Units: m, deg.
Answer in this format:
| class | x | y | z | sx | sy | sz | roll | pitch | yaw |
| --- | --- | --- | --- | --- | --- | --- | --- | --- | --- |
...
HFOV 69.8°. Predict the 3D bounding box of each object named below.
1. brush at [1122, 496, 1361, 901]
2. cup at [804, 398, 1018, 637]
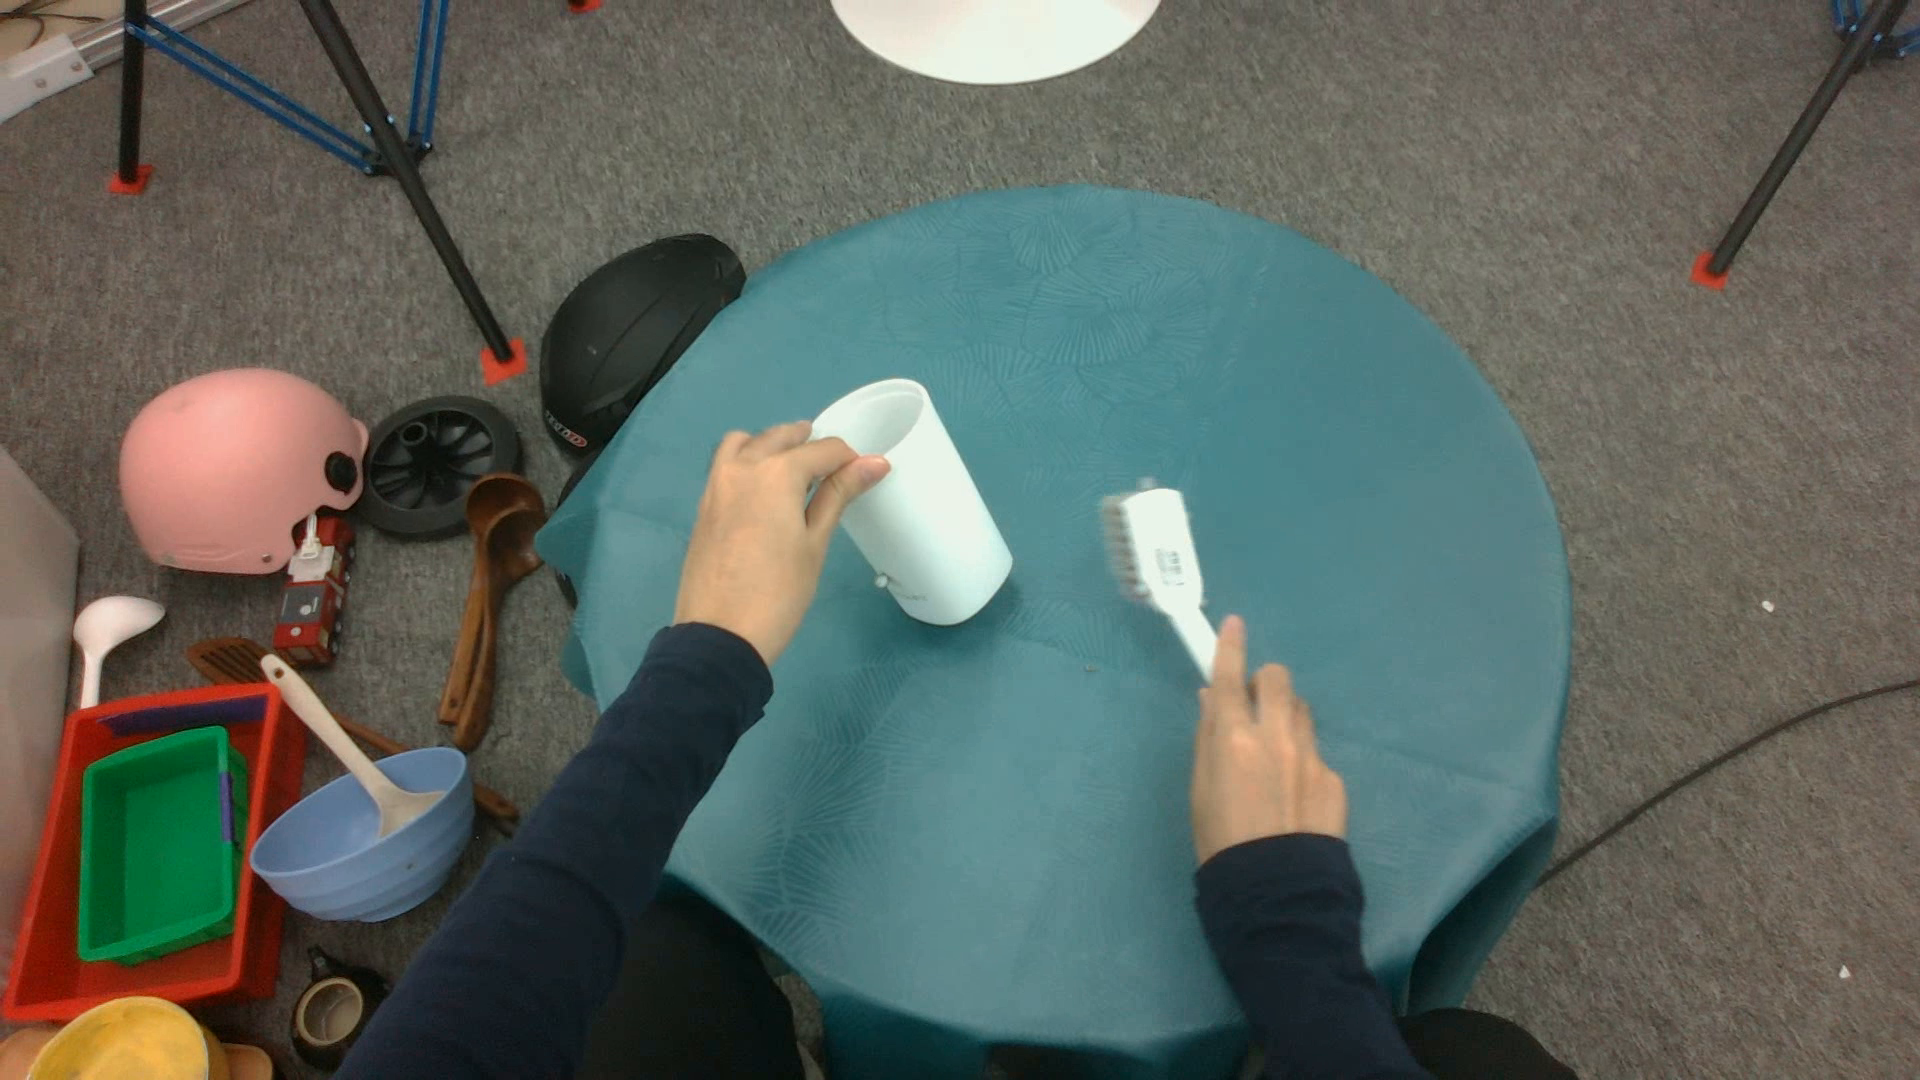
| class | x | y | z | sx | sy | sz | roll | pitch | yaw |
| --- | --- | --- | --- | --- | --- | --- | --- | --- | --- |
| brush | 0.149 | 0.084 | 0.760 | 0.034 | 0.050 | 0.244 | -10 | 71 | -36 |
| cup | -0.025 | -0.009 | 0.797 | 0.081 | 0.125 | 0.082 | -20 | 38 | 16 |
